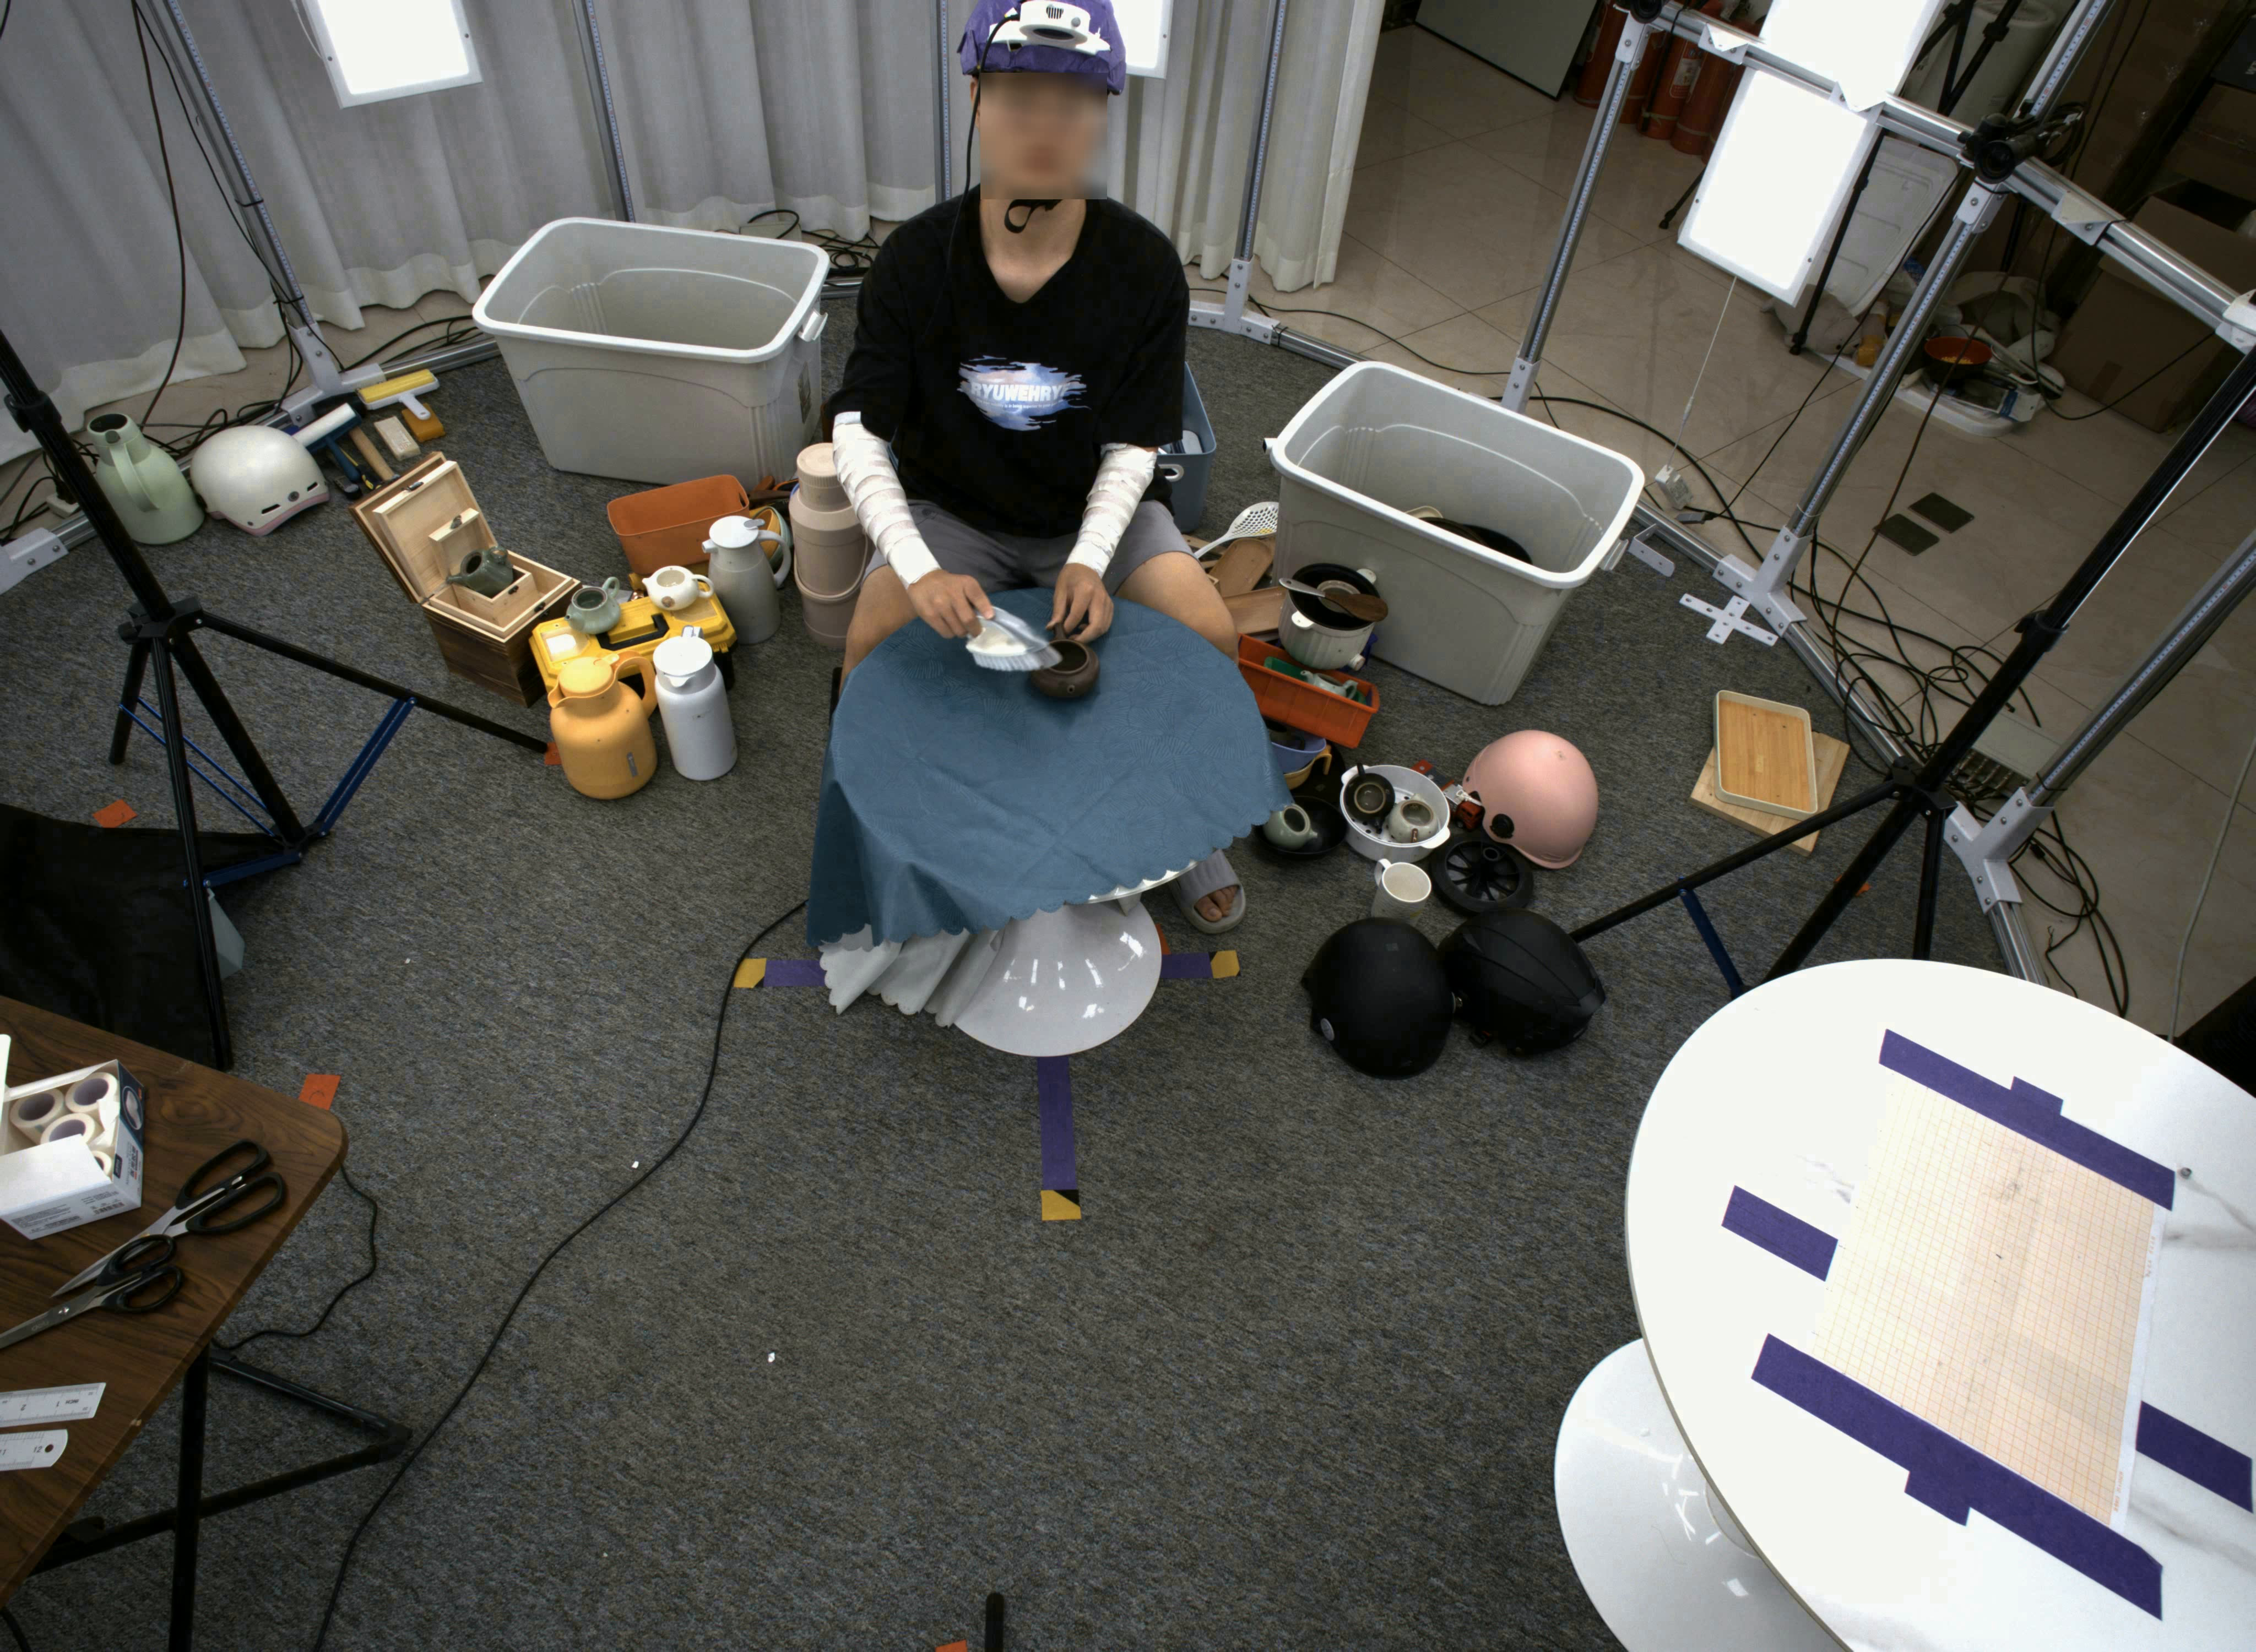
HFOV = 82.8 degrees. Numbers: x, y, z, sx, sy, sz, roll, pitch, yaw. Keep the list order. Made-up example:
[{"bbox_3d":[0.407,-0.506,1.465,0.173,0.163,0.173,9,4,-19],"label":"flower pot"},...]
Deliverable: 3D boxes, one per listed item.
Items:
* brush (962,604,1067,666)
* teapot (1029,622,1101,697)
[{"bbox_3d":[-0.162,-0.267,1.768,0.177,0.092,0.062,17,67,46],"label":"brush"},{"bbox_3d":[-0.091,-0.232,1.832,0.102,0.052,0.157,-8,51,-12],"label":"teapot"}]
